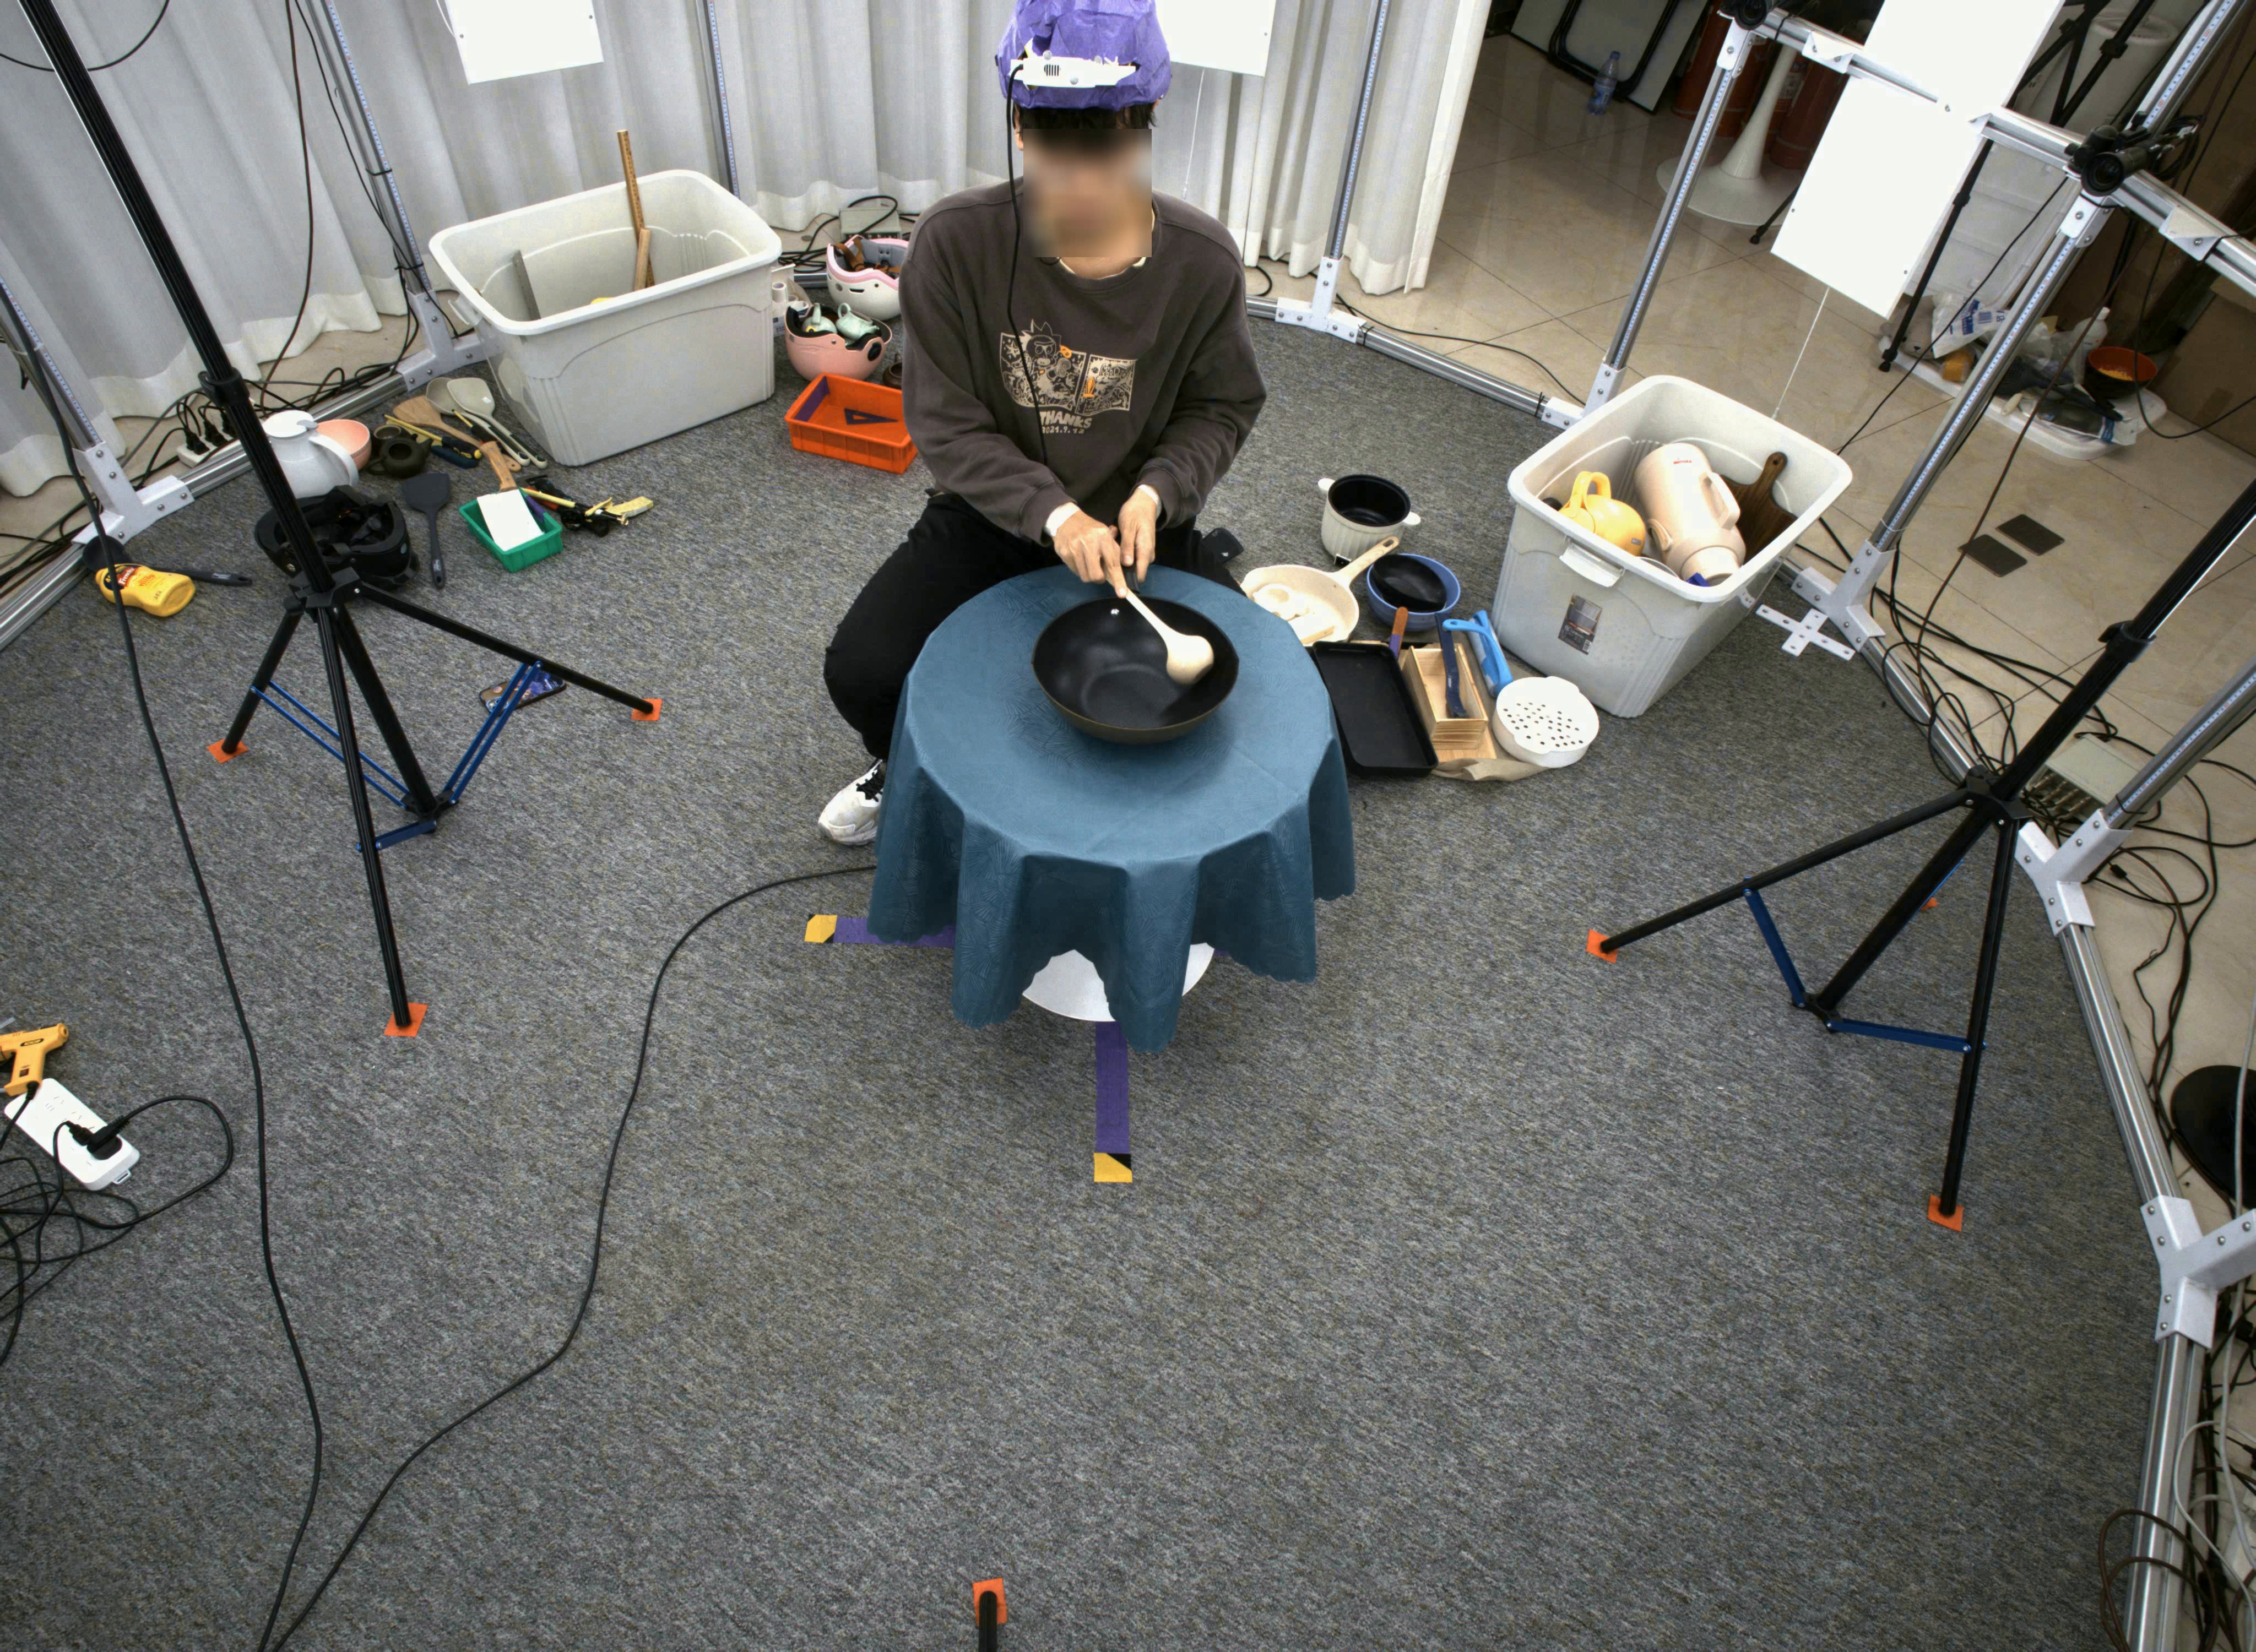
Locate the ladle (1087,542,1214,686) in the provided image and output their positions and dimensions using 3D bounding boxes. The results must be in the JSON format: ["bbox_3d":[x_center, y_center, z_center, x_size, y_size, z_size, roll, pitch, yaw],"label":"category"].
[{"bbox_3d":[0.028,-0.304,1.838,0.072,0.072,0.258,-40,70,3],"label":"ladle"}]

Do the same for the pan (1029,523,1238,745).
[{"bbox_3d":[0.002,-0.272,1.850,0.288,0.085,0.475,0,47,-4],"label":"pan"}]
